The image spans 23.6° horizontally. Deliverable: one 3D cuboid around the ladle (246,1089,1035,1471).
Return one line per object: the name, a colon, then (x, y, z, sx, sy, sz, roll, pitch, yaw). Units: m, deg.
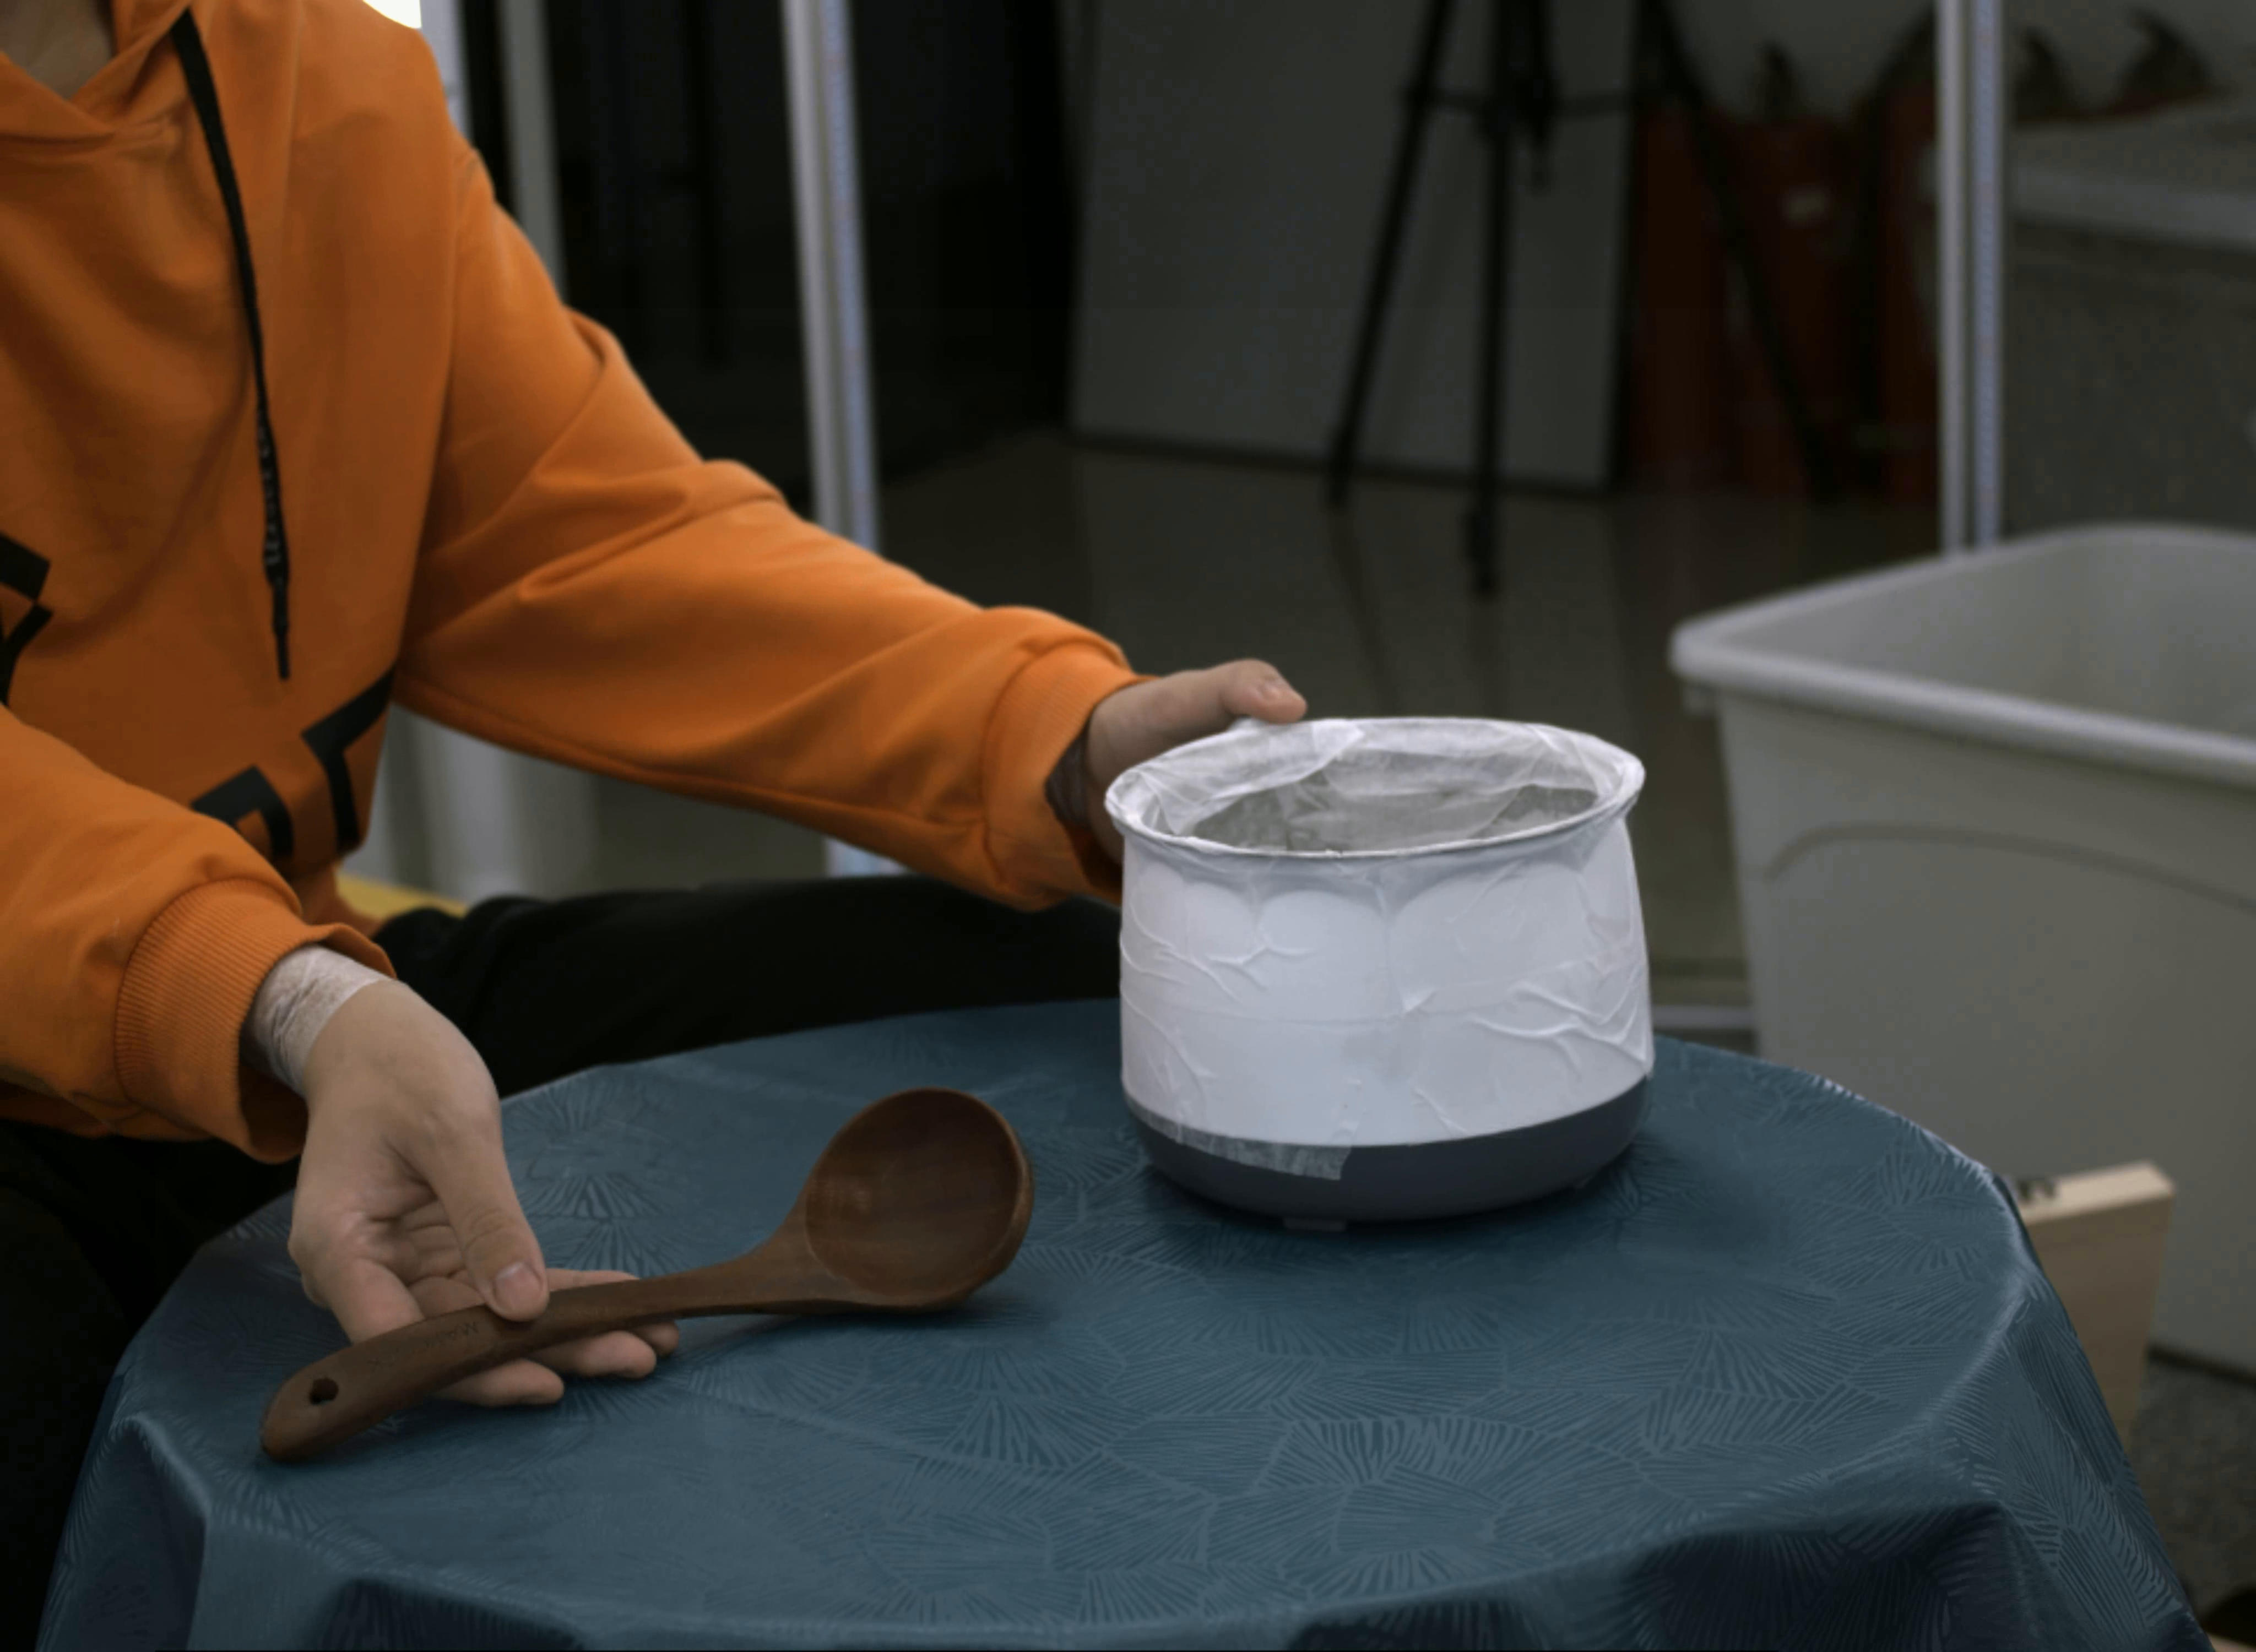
ladle: (-0.143, 0.137, 1.624, 0.254, 0.066, 0.077, -12, 43, -31)

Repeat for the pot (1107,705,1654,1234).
pot: (0.073, 0.041, 1.787, 0.175, 0.138, 0.236, -9, 14, -21)
